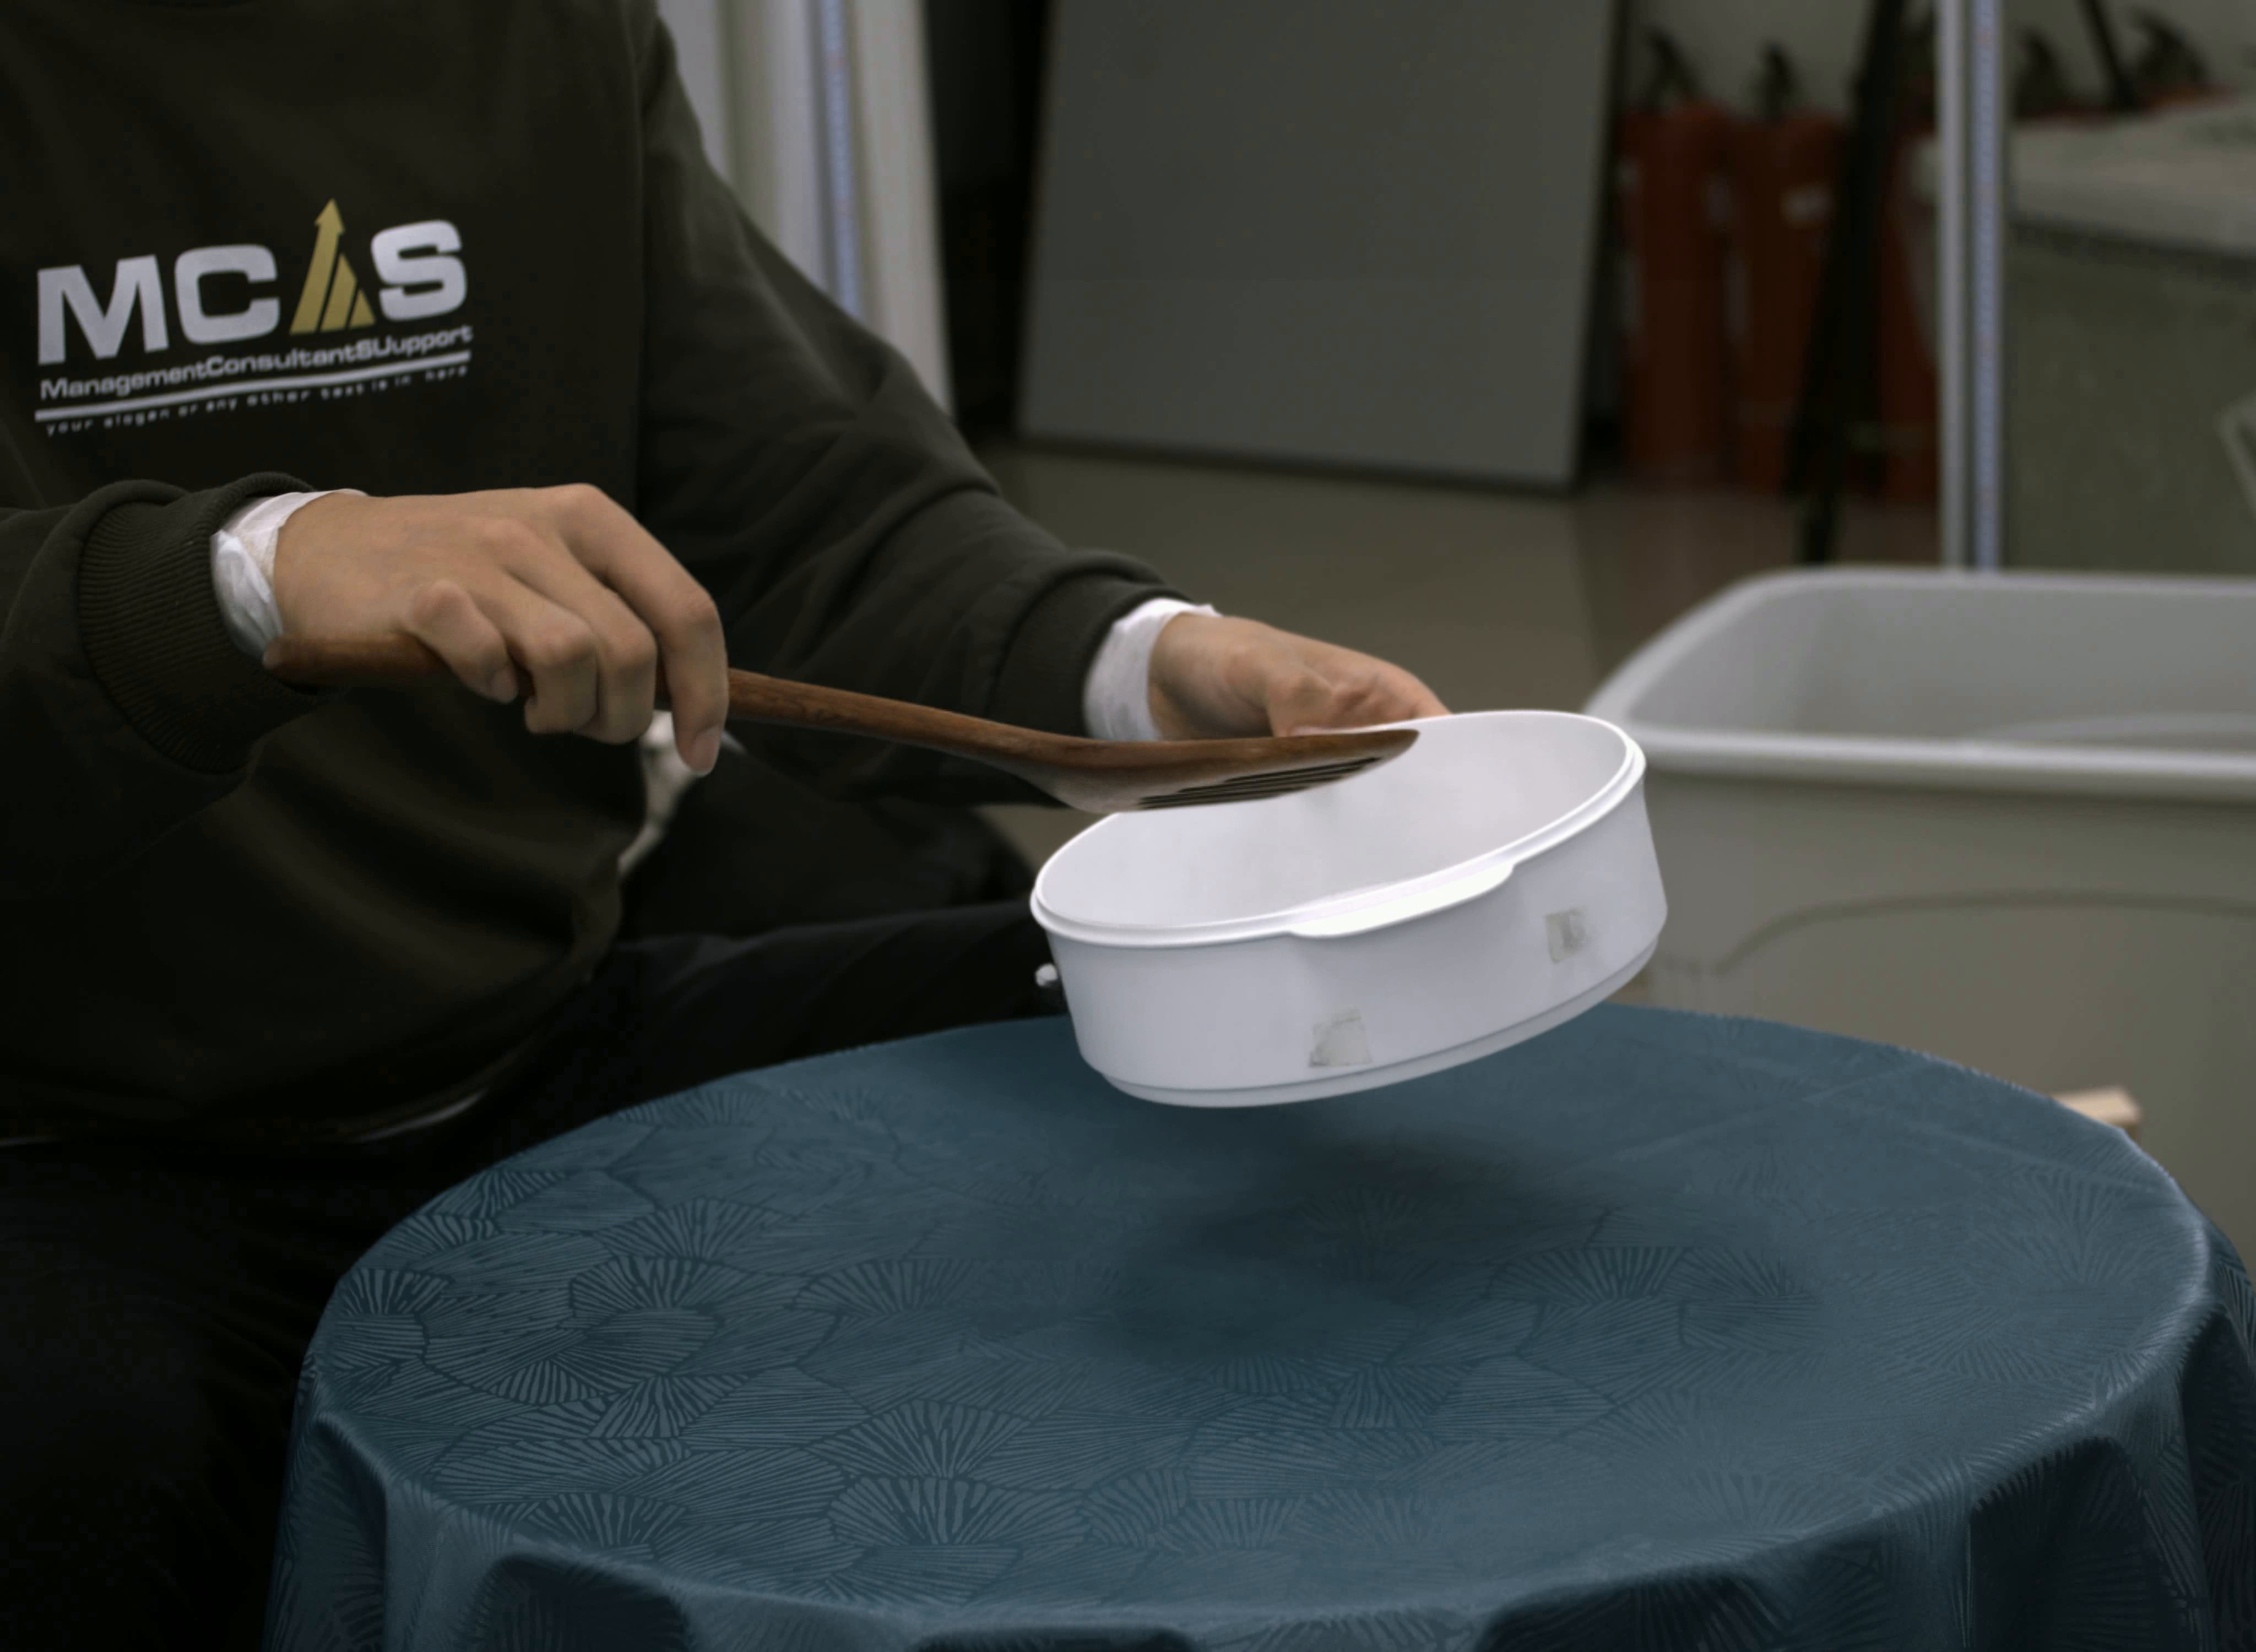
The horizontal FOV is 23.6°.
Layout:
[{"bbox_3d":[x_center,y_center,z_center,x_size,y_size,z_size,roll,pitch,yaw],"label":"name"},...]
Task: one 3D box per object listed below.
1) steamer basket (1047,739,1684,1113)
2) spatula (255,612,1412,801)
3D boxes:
[{"bbox_3d":[0.077,0.032,1.701,0.199,0.070,0.231,-16,10,-6],"label":"steamer basket"},{"bbox_3d":[-0.082,-0.033,1.589,0.376,0.024,0.086,7,-15,-34],"label":"spatula"}]
